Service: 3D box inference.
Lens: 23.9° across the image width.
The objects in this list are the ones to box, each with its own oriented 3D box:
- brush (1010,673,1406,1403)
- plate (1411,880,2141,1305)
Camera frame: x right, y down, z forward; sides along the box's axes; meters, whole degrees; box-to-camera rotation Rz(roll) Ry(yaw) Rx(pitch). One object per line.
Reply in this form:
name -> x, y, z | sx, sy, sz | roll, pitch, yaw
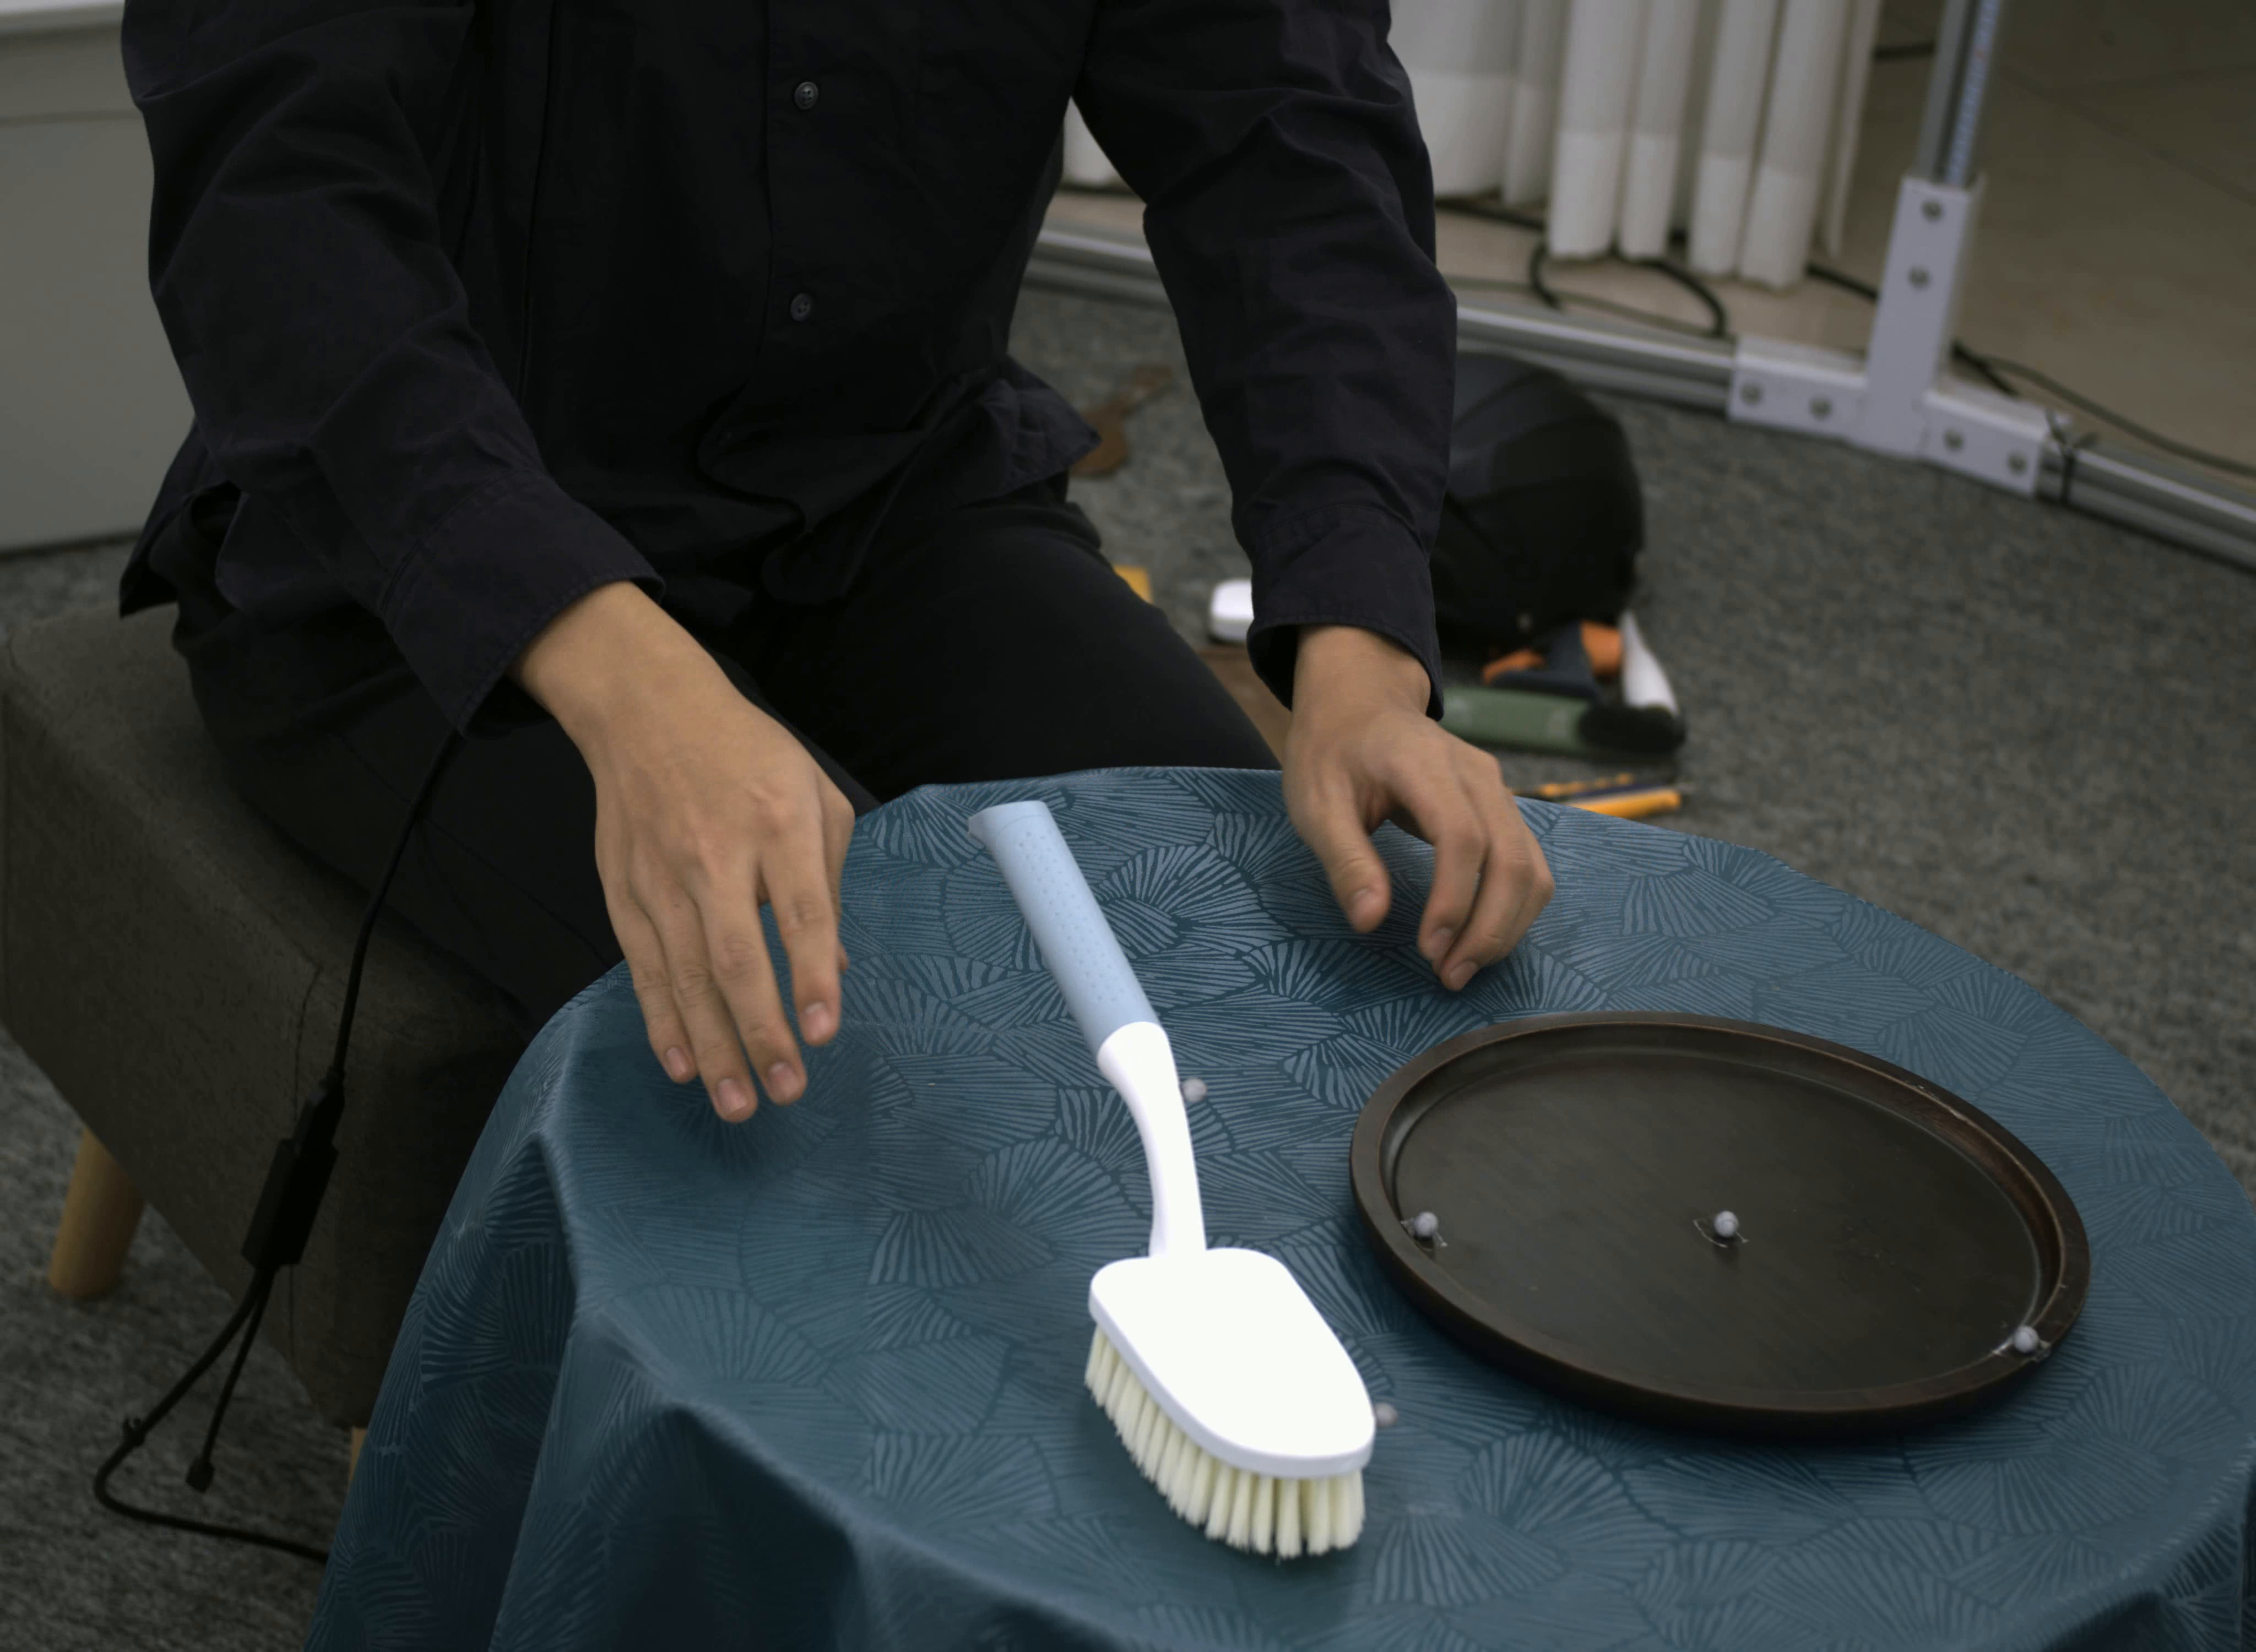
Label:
brush -> 0.019, 0.077, 1.753 | 0.082, 0.084, 0.328 | 33, 20, -41
plate -> 0.221, 0.091, 1.832 | 0.254, 0.029, 0.256 | 4, 29, -2
